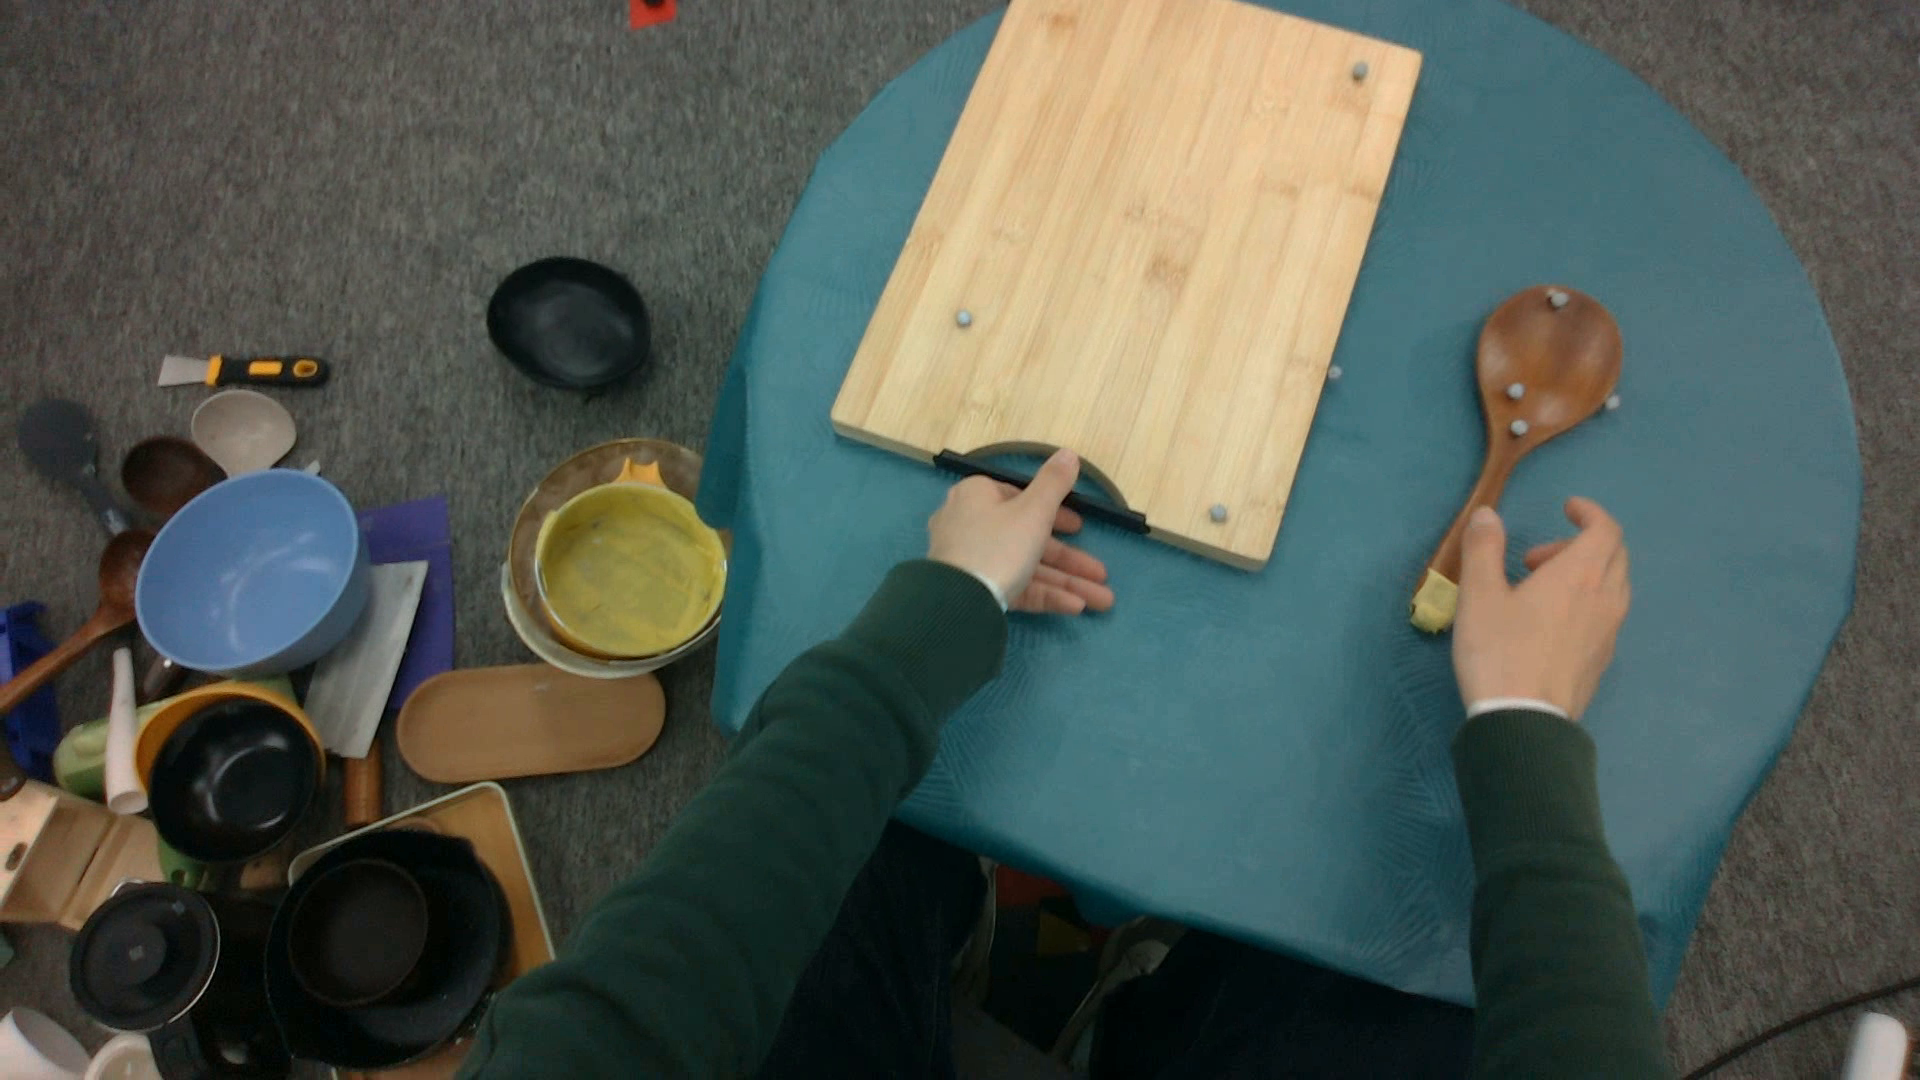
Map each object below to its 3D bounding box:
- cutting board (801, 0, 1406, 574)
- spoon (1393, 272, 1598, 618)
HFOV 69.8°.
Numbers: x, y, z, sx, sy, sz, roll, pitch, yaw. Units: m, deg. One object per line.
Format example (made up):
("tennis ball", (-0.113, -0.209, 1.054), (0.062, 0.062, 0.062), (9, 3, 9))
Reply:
("cutting board", (0.090, -0.173, 0.770), (0.250, 0.023, 0.350), (18, 70, 7))
("spoon", (0.275, -0.052, 0.725), (0.075, 0.017, 0.216), (27, 70, 7))
